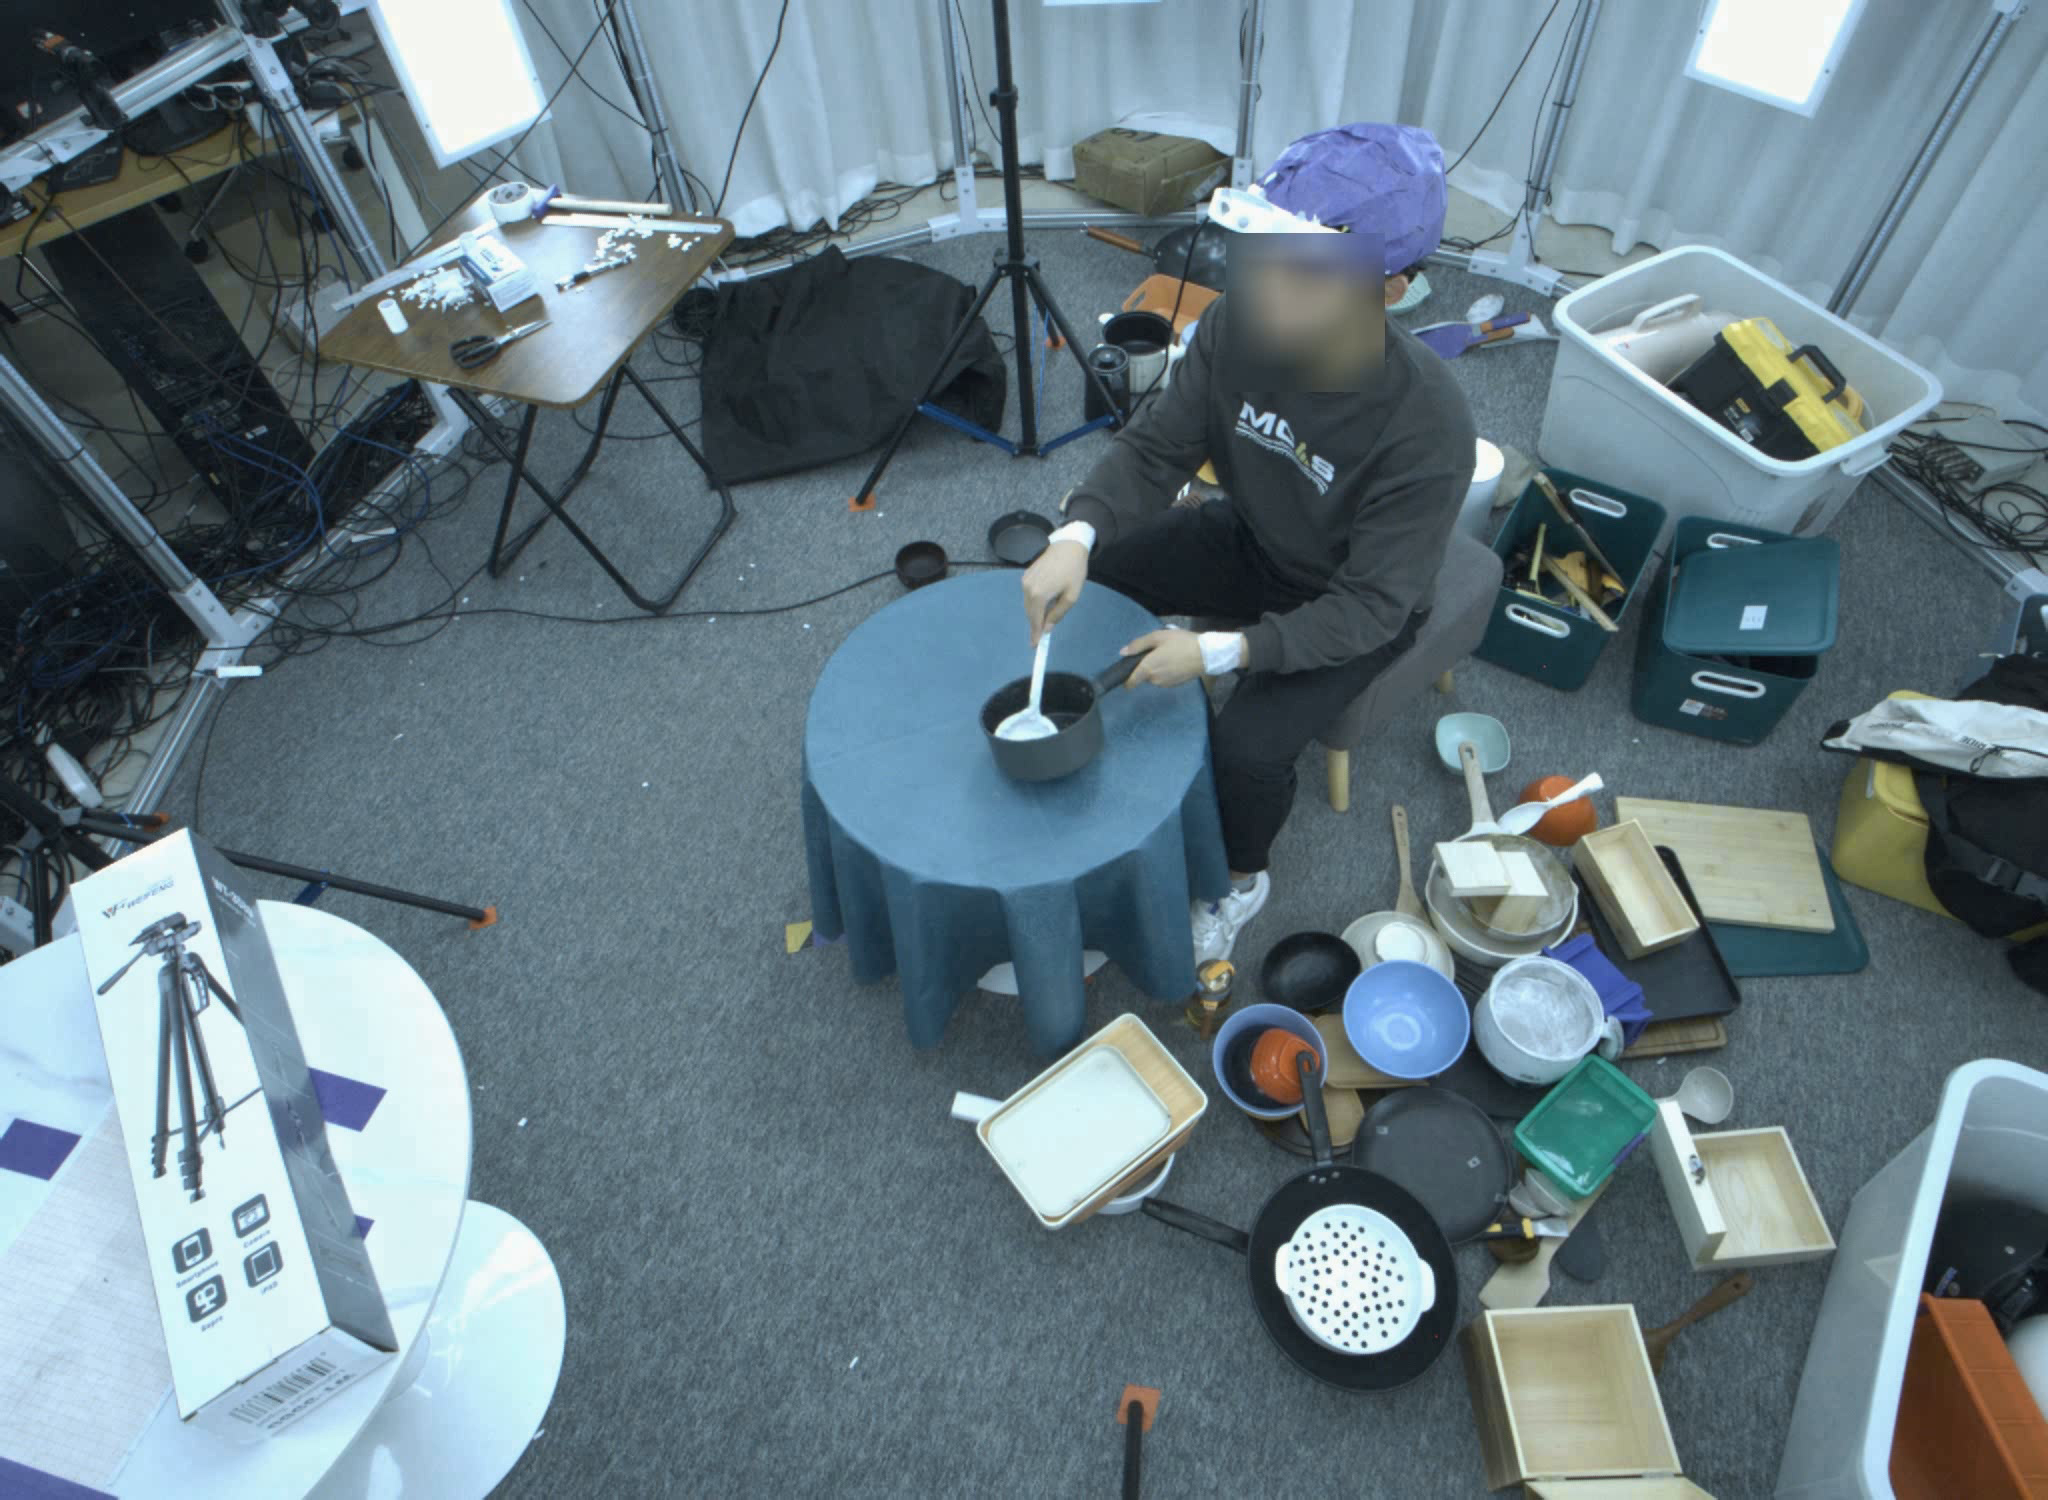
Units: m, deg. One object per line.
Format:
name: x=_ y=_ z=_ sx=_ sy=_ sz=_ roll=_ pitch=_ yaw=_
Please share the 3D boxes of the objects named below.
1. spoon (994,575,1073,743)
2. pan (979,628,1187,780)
spoon: x=0.031 y=-0.112 z=1.729 sx=0.100 sy=0.059 sz=0.277 roll=14 pitch=96 yaw=2
pan: x=0.095 y=-0.071 z=1.764 sx=0.331 sy=0.088 sz=0.168 roll=-27 pitch=38 yaw=-16
